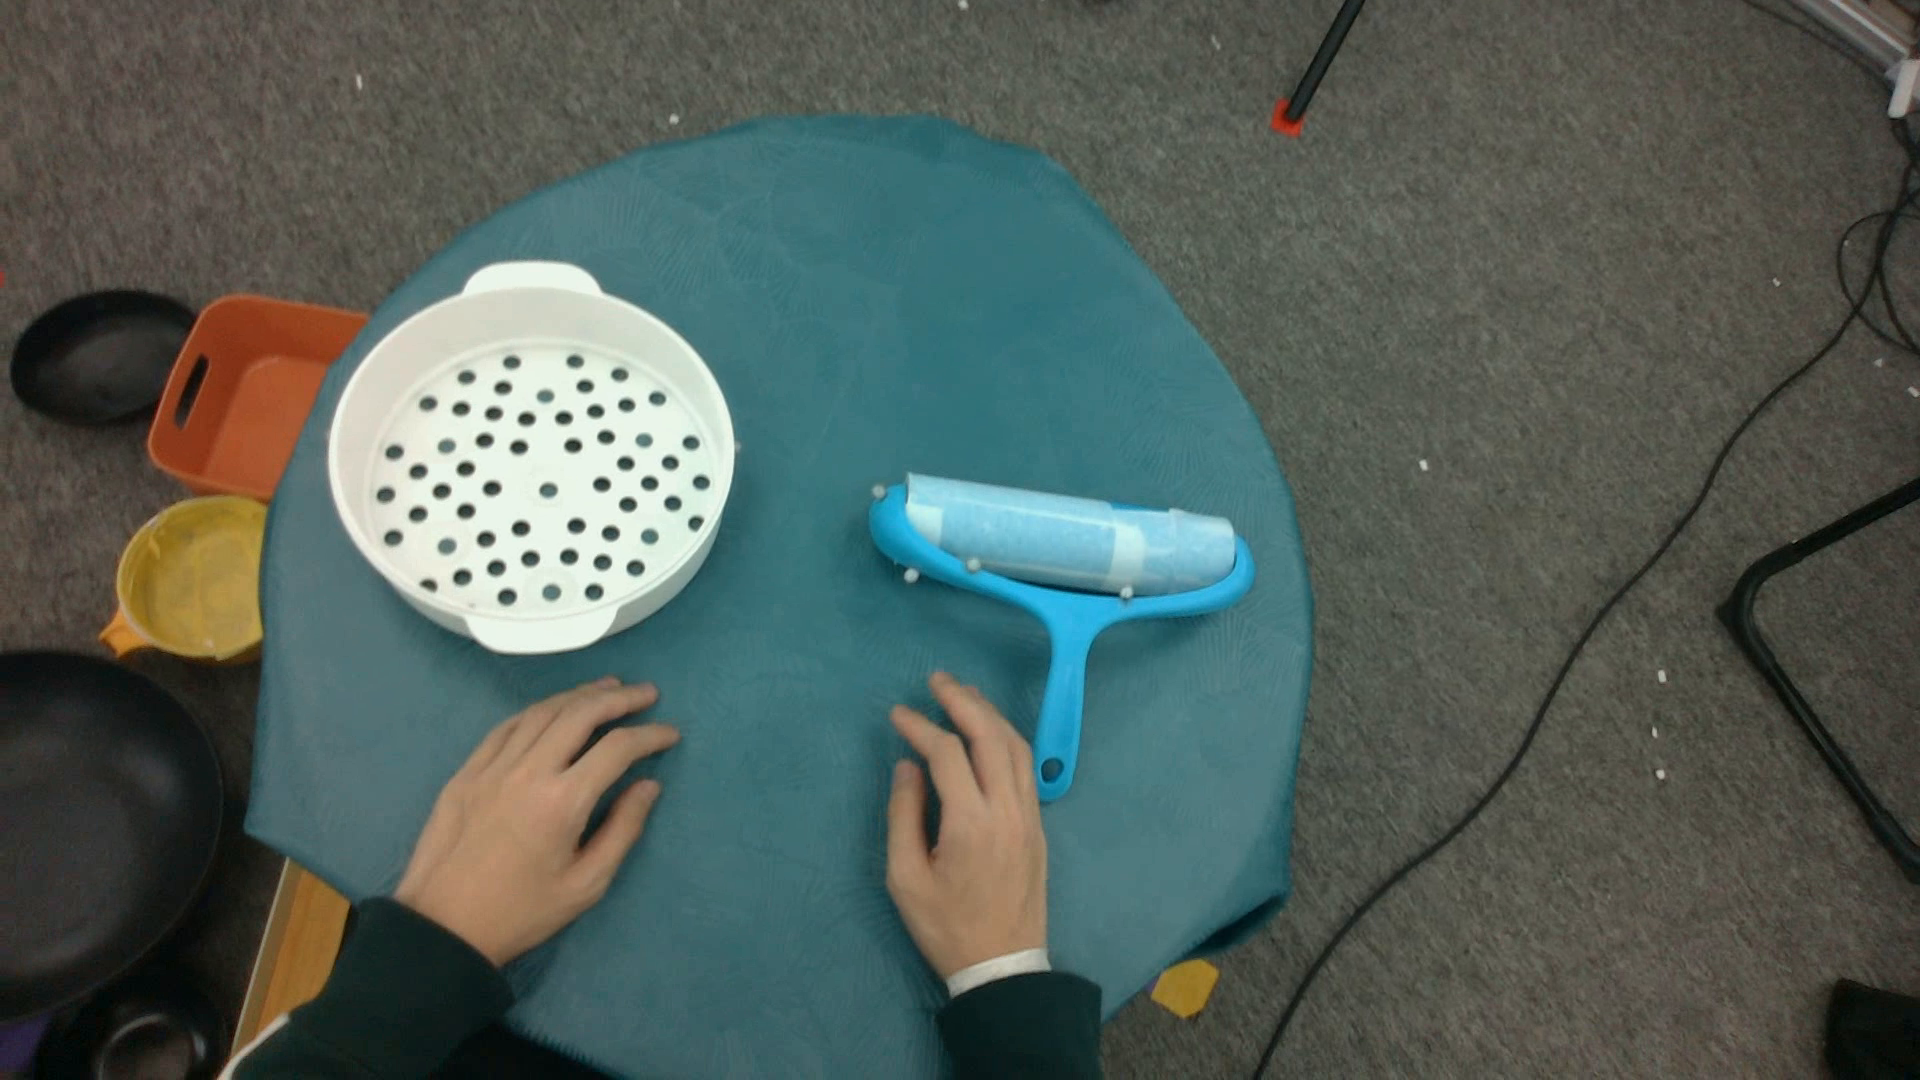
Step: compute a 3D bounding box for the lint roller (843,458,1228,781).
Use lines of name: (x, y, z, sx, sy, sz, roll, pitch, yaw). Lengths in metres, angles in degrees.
lint roller: (0.049, 0.041, 0.780, 0.229, 0.067, 0.181, 3, 66, -13)

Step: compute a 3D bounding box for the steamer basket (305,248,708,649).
steamer basket: (-0.240, -0.045, 0.746, 0.202, 0.069, 0.231, -5, 70, -13)
